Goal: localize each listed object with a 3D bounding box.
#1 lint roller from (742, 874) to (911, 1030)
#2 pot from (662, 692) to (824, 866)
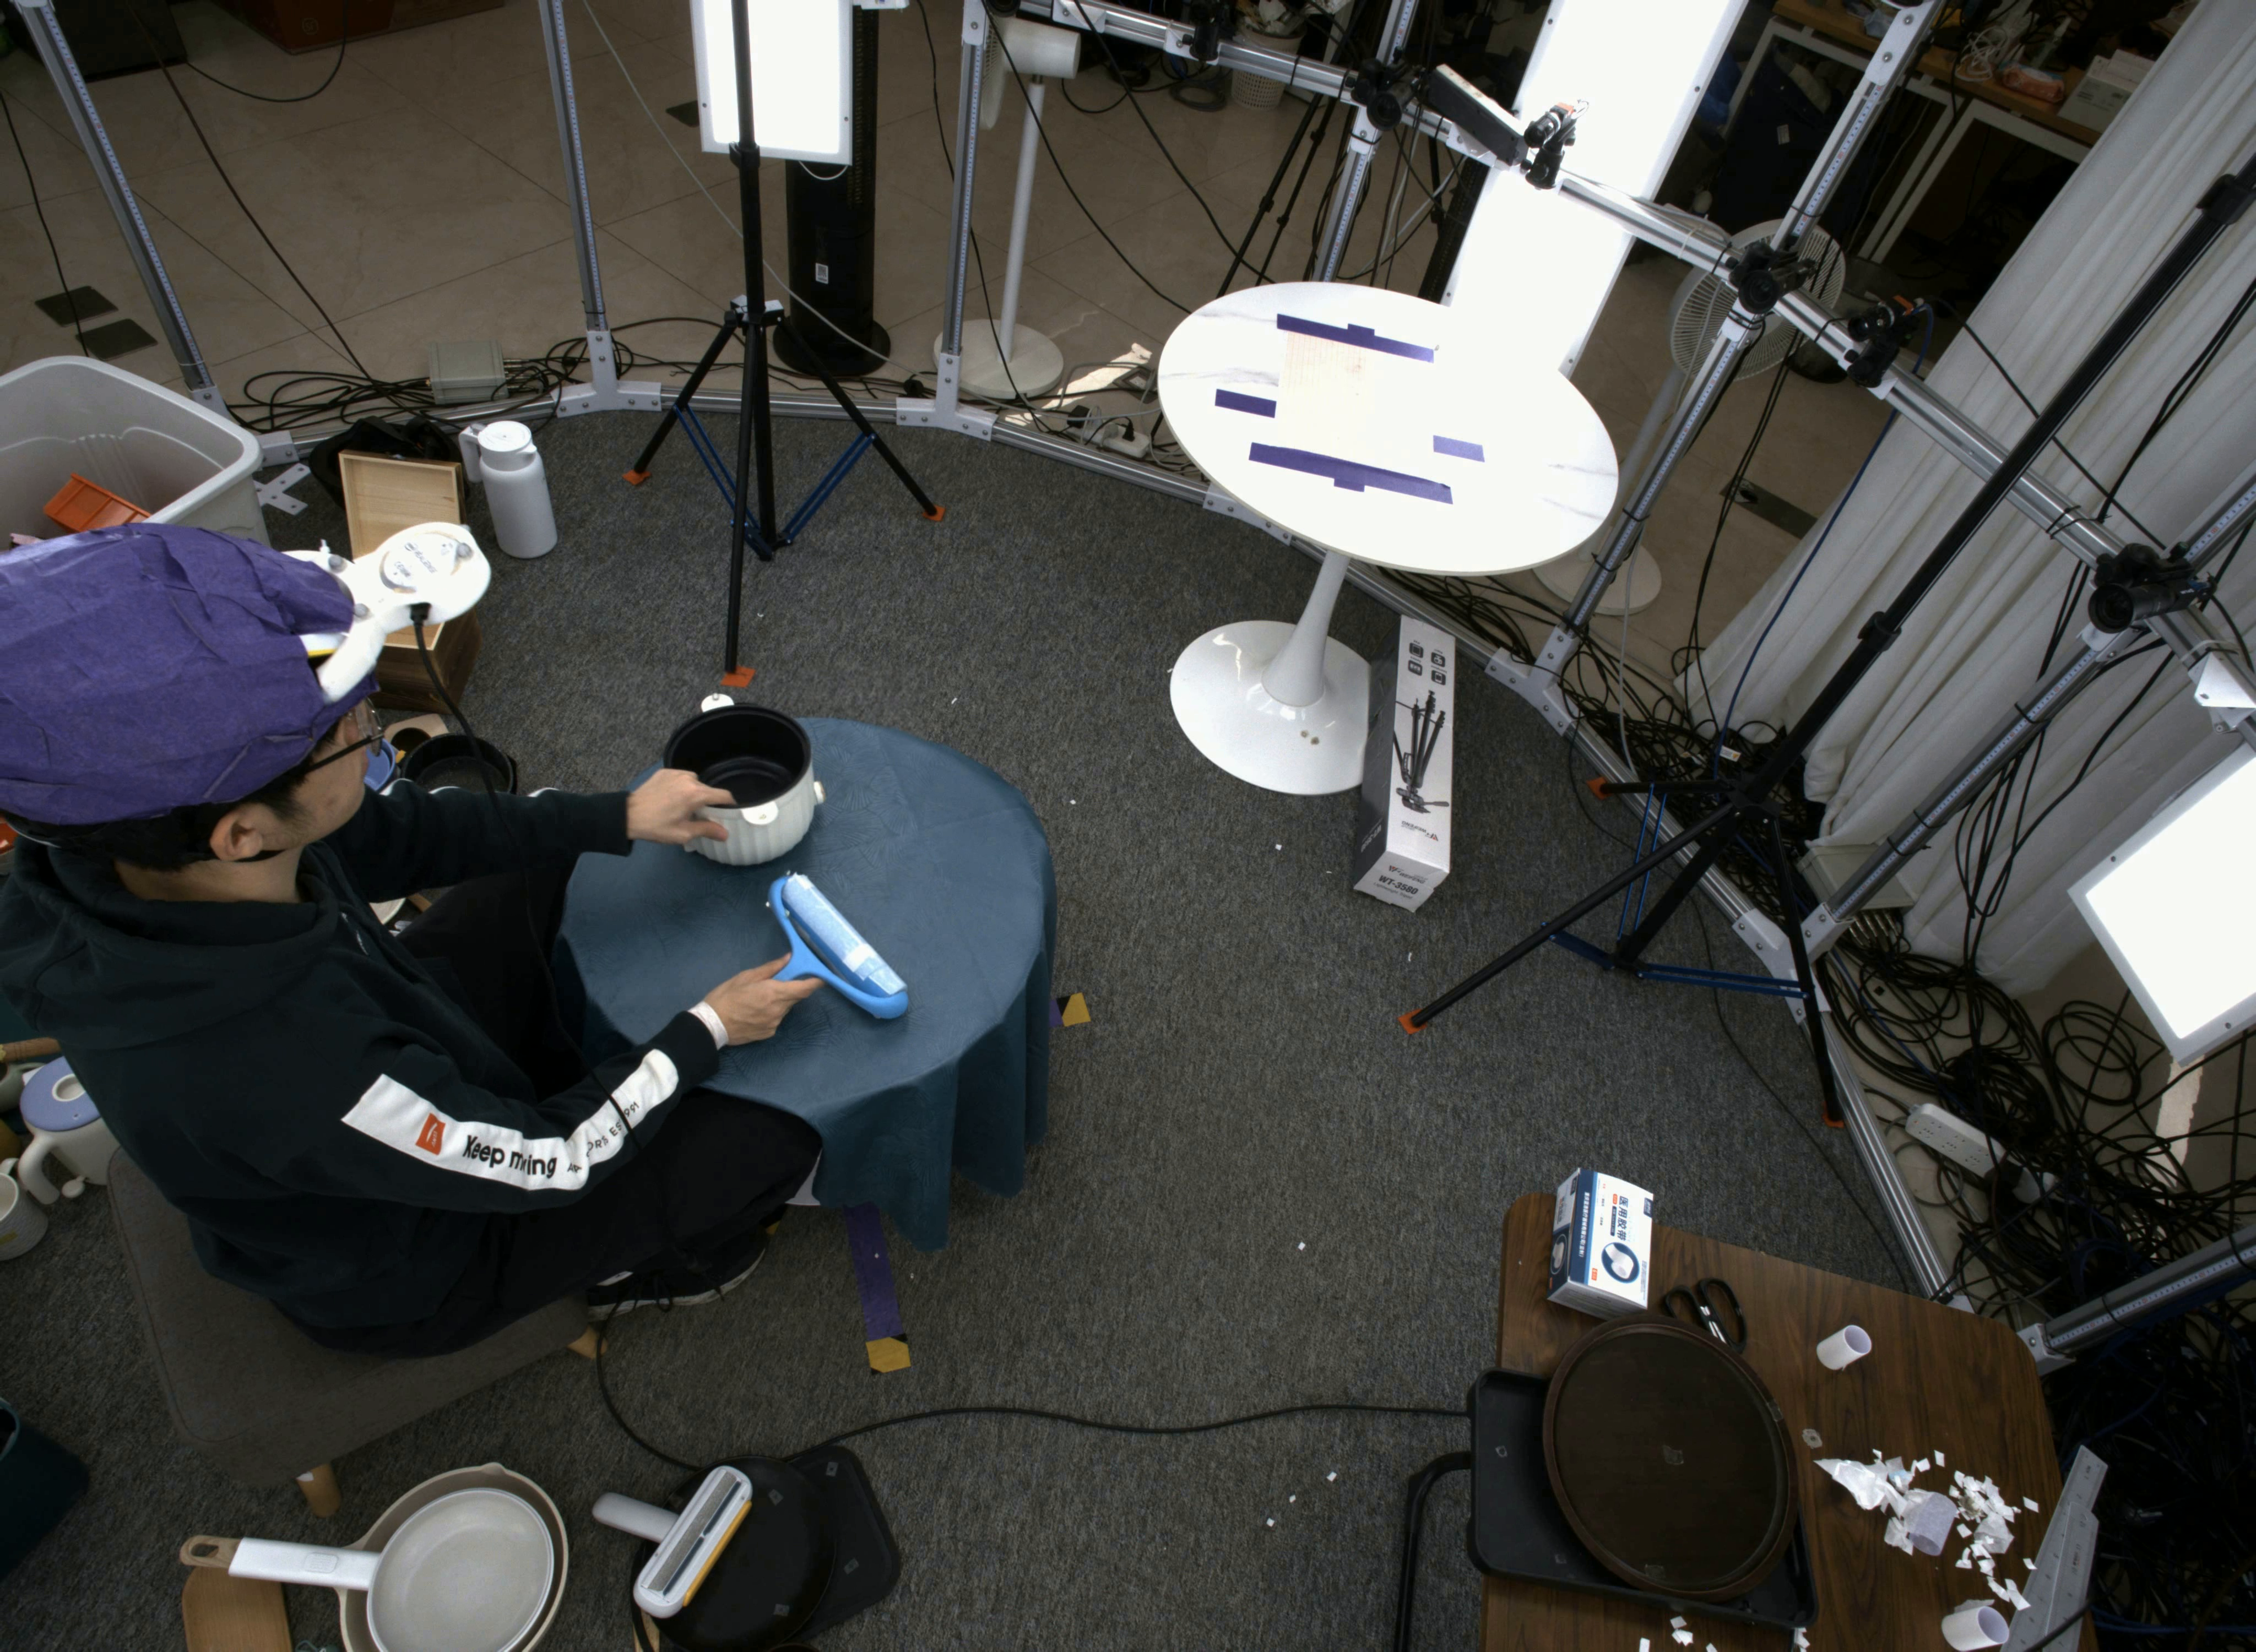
[{"bbox_3d":[-0.387,0.174,1.559,0.227,0.068,0.180,43,53,5],"label":"lint roller"},{"bbox_3d":[-0.488,-0.050,1.655,0.191,0.146,0.234,-21,58,-22],"label":"pot"}]
